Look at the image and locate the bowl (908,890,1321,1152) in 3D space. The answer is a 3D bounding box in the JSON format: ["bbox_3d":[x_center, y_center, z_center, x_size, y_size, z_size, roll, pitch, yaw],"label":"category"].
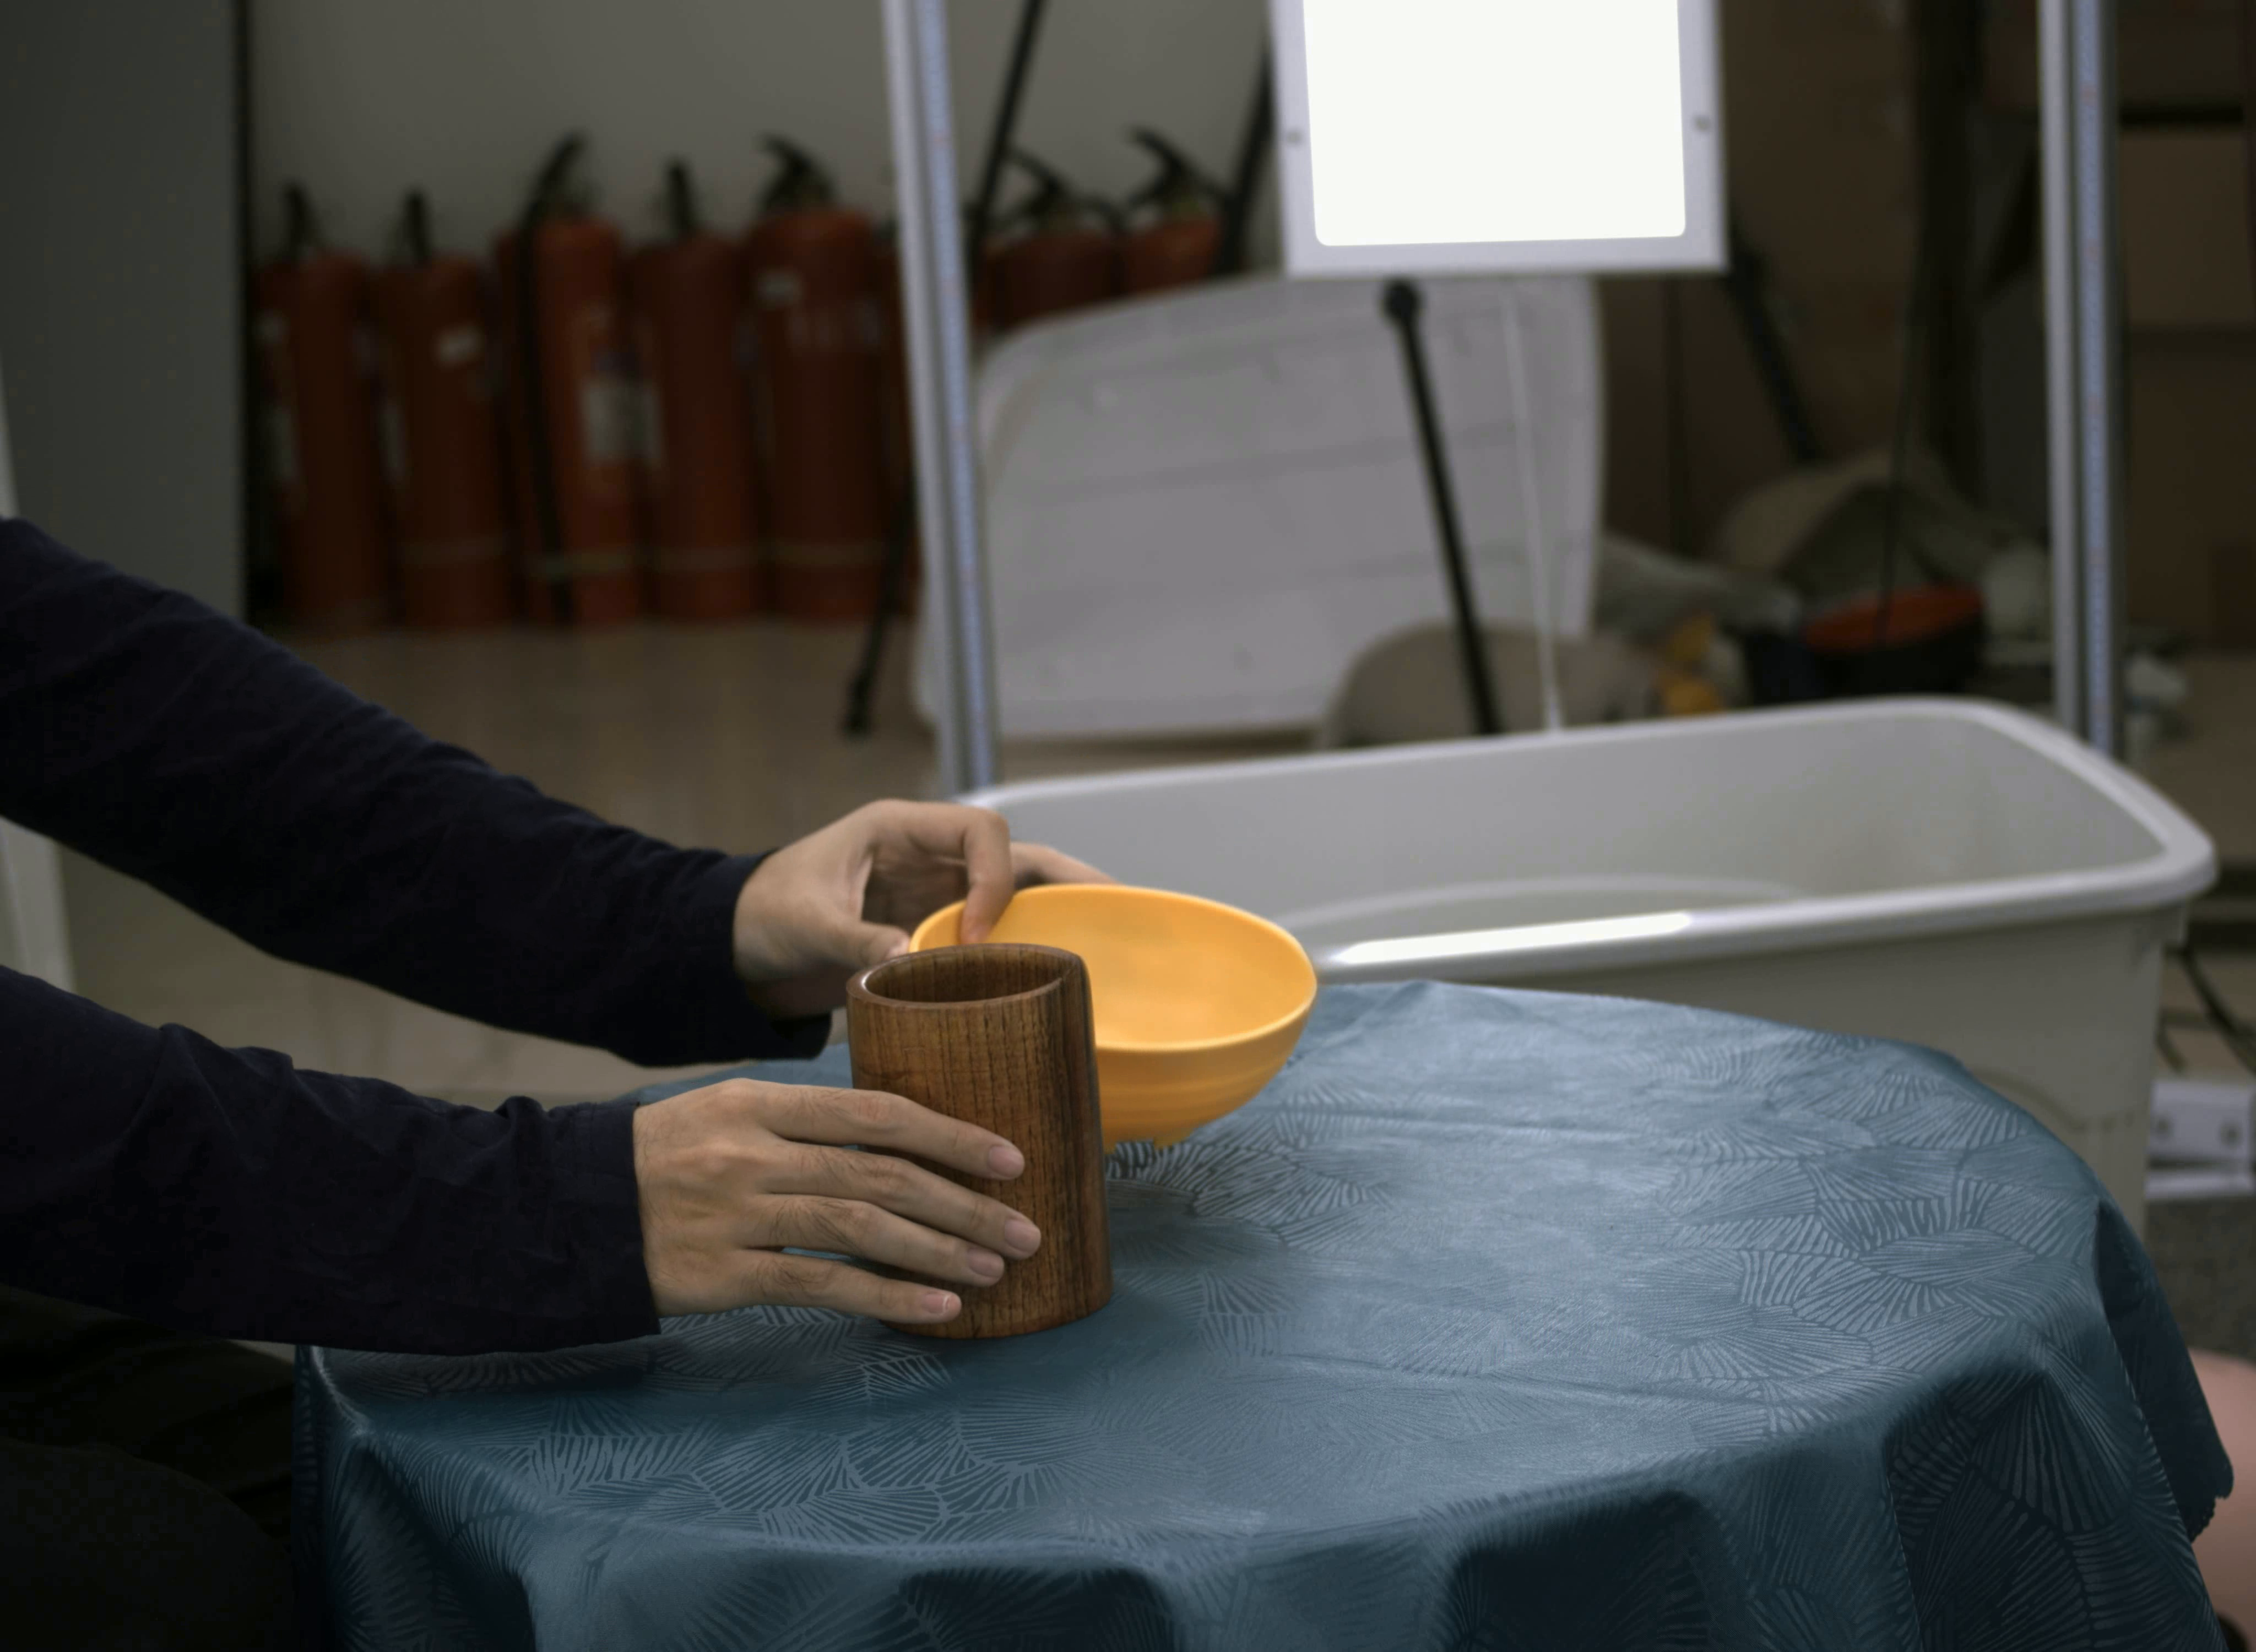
[{"bbox_3d":[-0.006,0.073,1.907,0.145,0.060,0.145,1,20,-2],"label":"bowl"}]

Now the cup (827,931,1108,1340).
[{"bbox_3d":[-0.050,0.099,1.781,0.087,0.119,0.087,-4,10,-1],"label":"cup"}]
